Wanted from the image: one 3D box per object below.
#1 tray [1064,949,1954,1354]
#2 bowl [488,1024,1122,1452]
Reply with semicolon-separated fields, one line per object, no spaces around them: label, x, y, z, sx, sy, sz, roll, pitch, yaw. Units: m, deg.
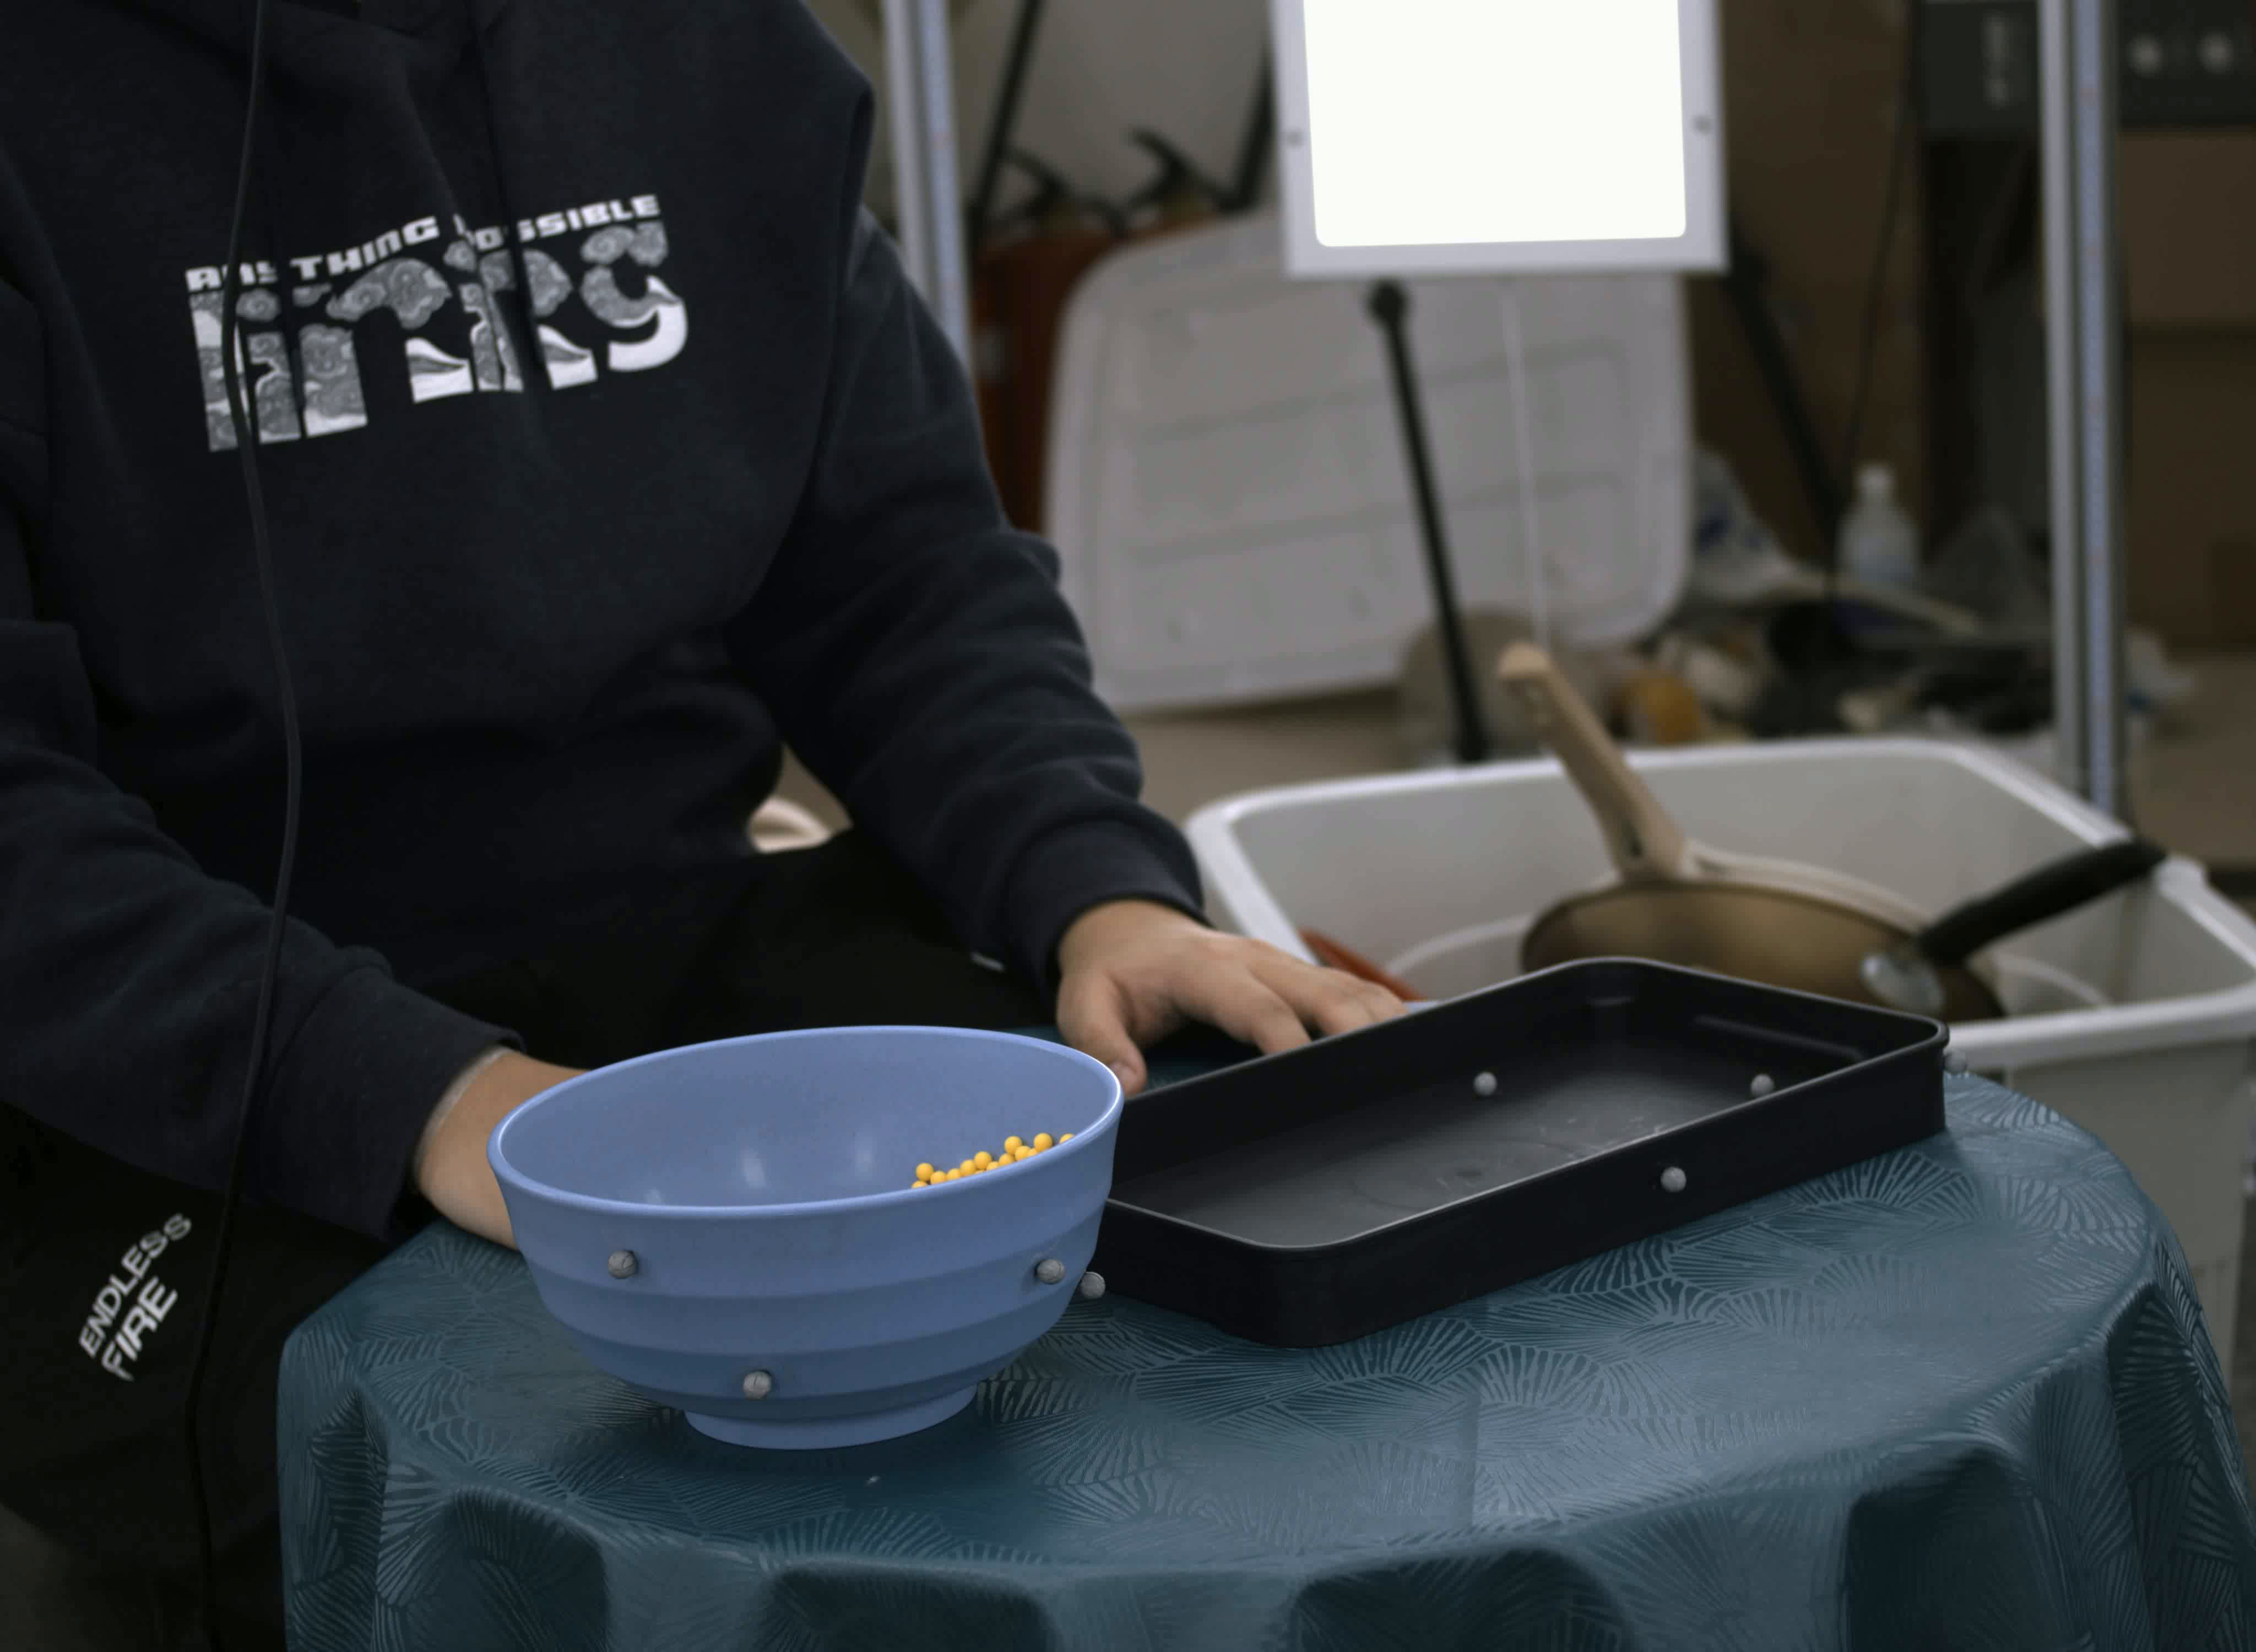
tray;0.120;0.105;1.873;0.310;0.037;0.188;-17;17;-37
bowl;-0.095;0.133;1.704;0.196;0.096;0.196;-6;14;0
